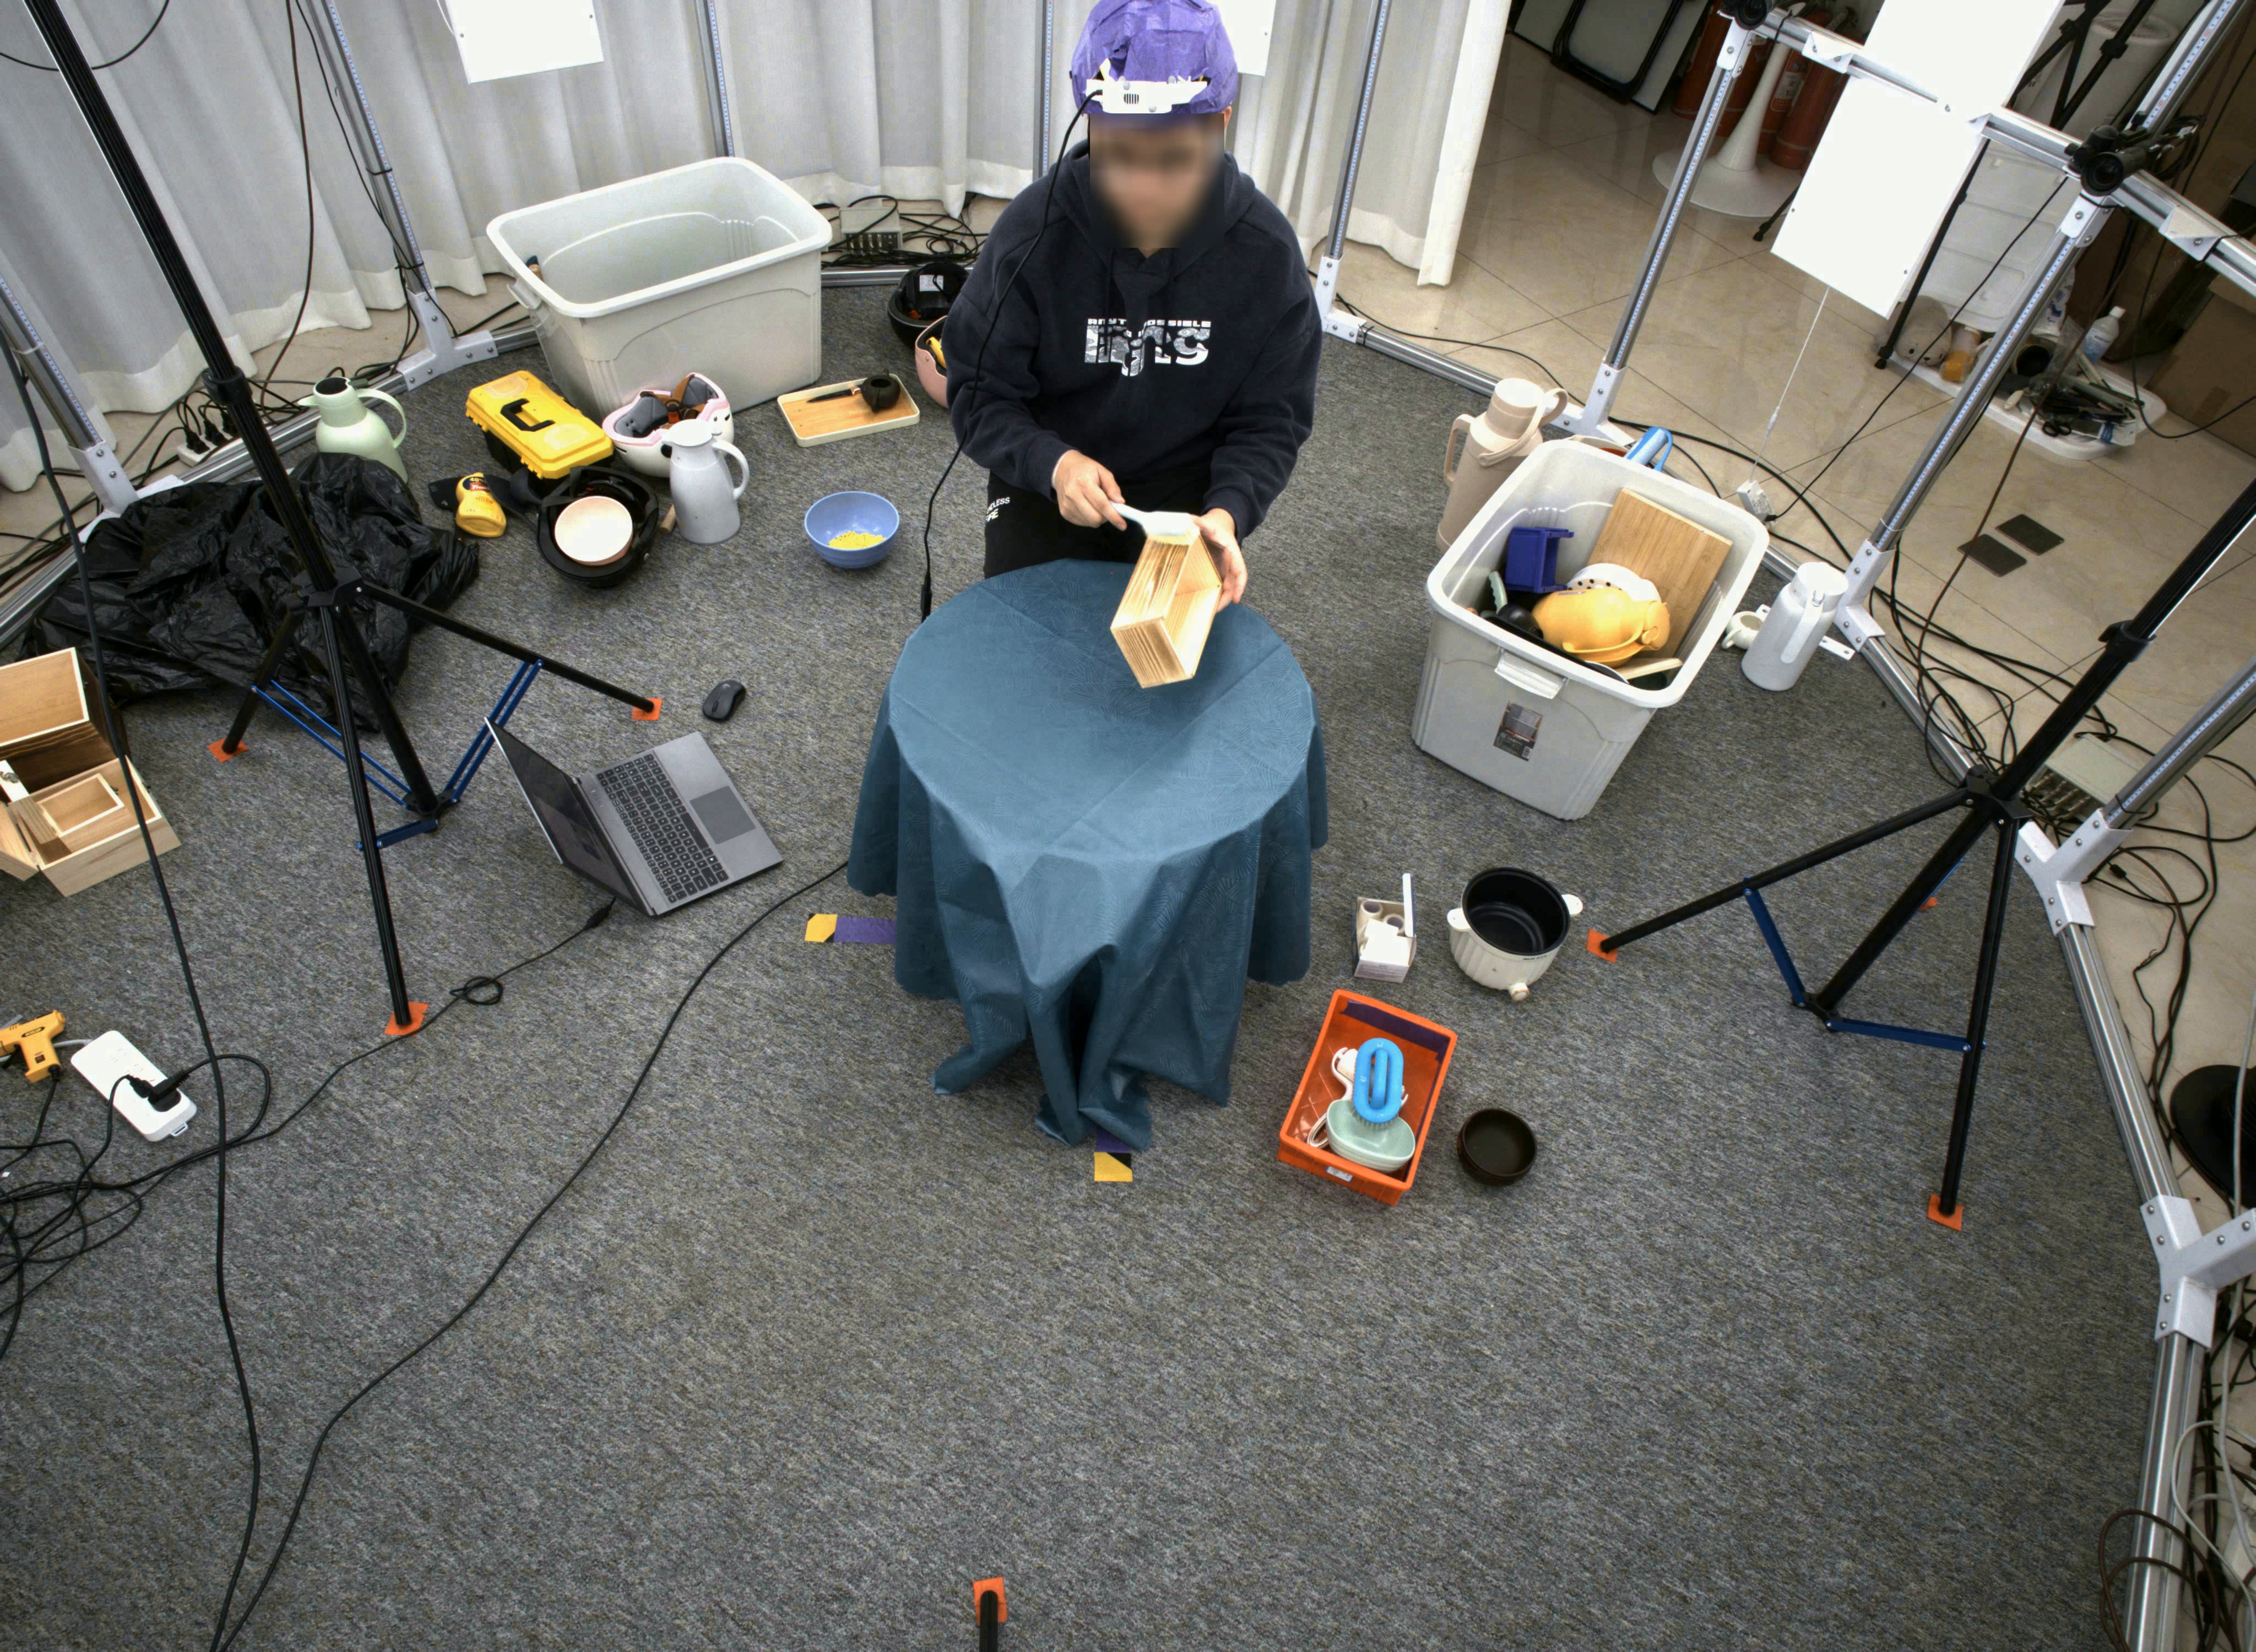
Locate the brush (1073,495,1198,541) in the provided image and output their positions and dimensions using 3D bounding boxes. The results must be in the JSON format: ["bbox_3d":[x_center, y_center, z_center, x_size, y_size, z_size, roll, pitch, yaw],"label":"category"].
[{"bbox_3d":[0.006,-0.433,1.808,0.231,0.048,0.038,22,73,39],"label":"brush"}]

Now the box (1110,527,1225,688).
[{"bbox_3d":[0.058,-0.303,1.775,0.080,0.105,0.216,-9,41,28],"label":"box"}]
